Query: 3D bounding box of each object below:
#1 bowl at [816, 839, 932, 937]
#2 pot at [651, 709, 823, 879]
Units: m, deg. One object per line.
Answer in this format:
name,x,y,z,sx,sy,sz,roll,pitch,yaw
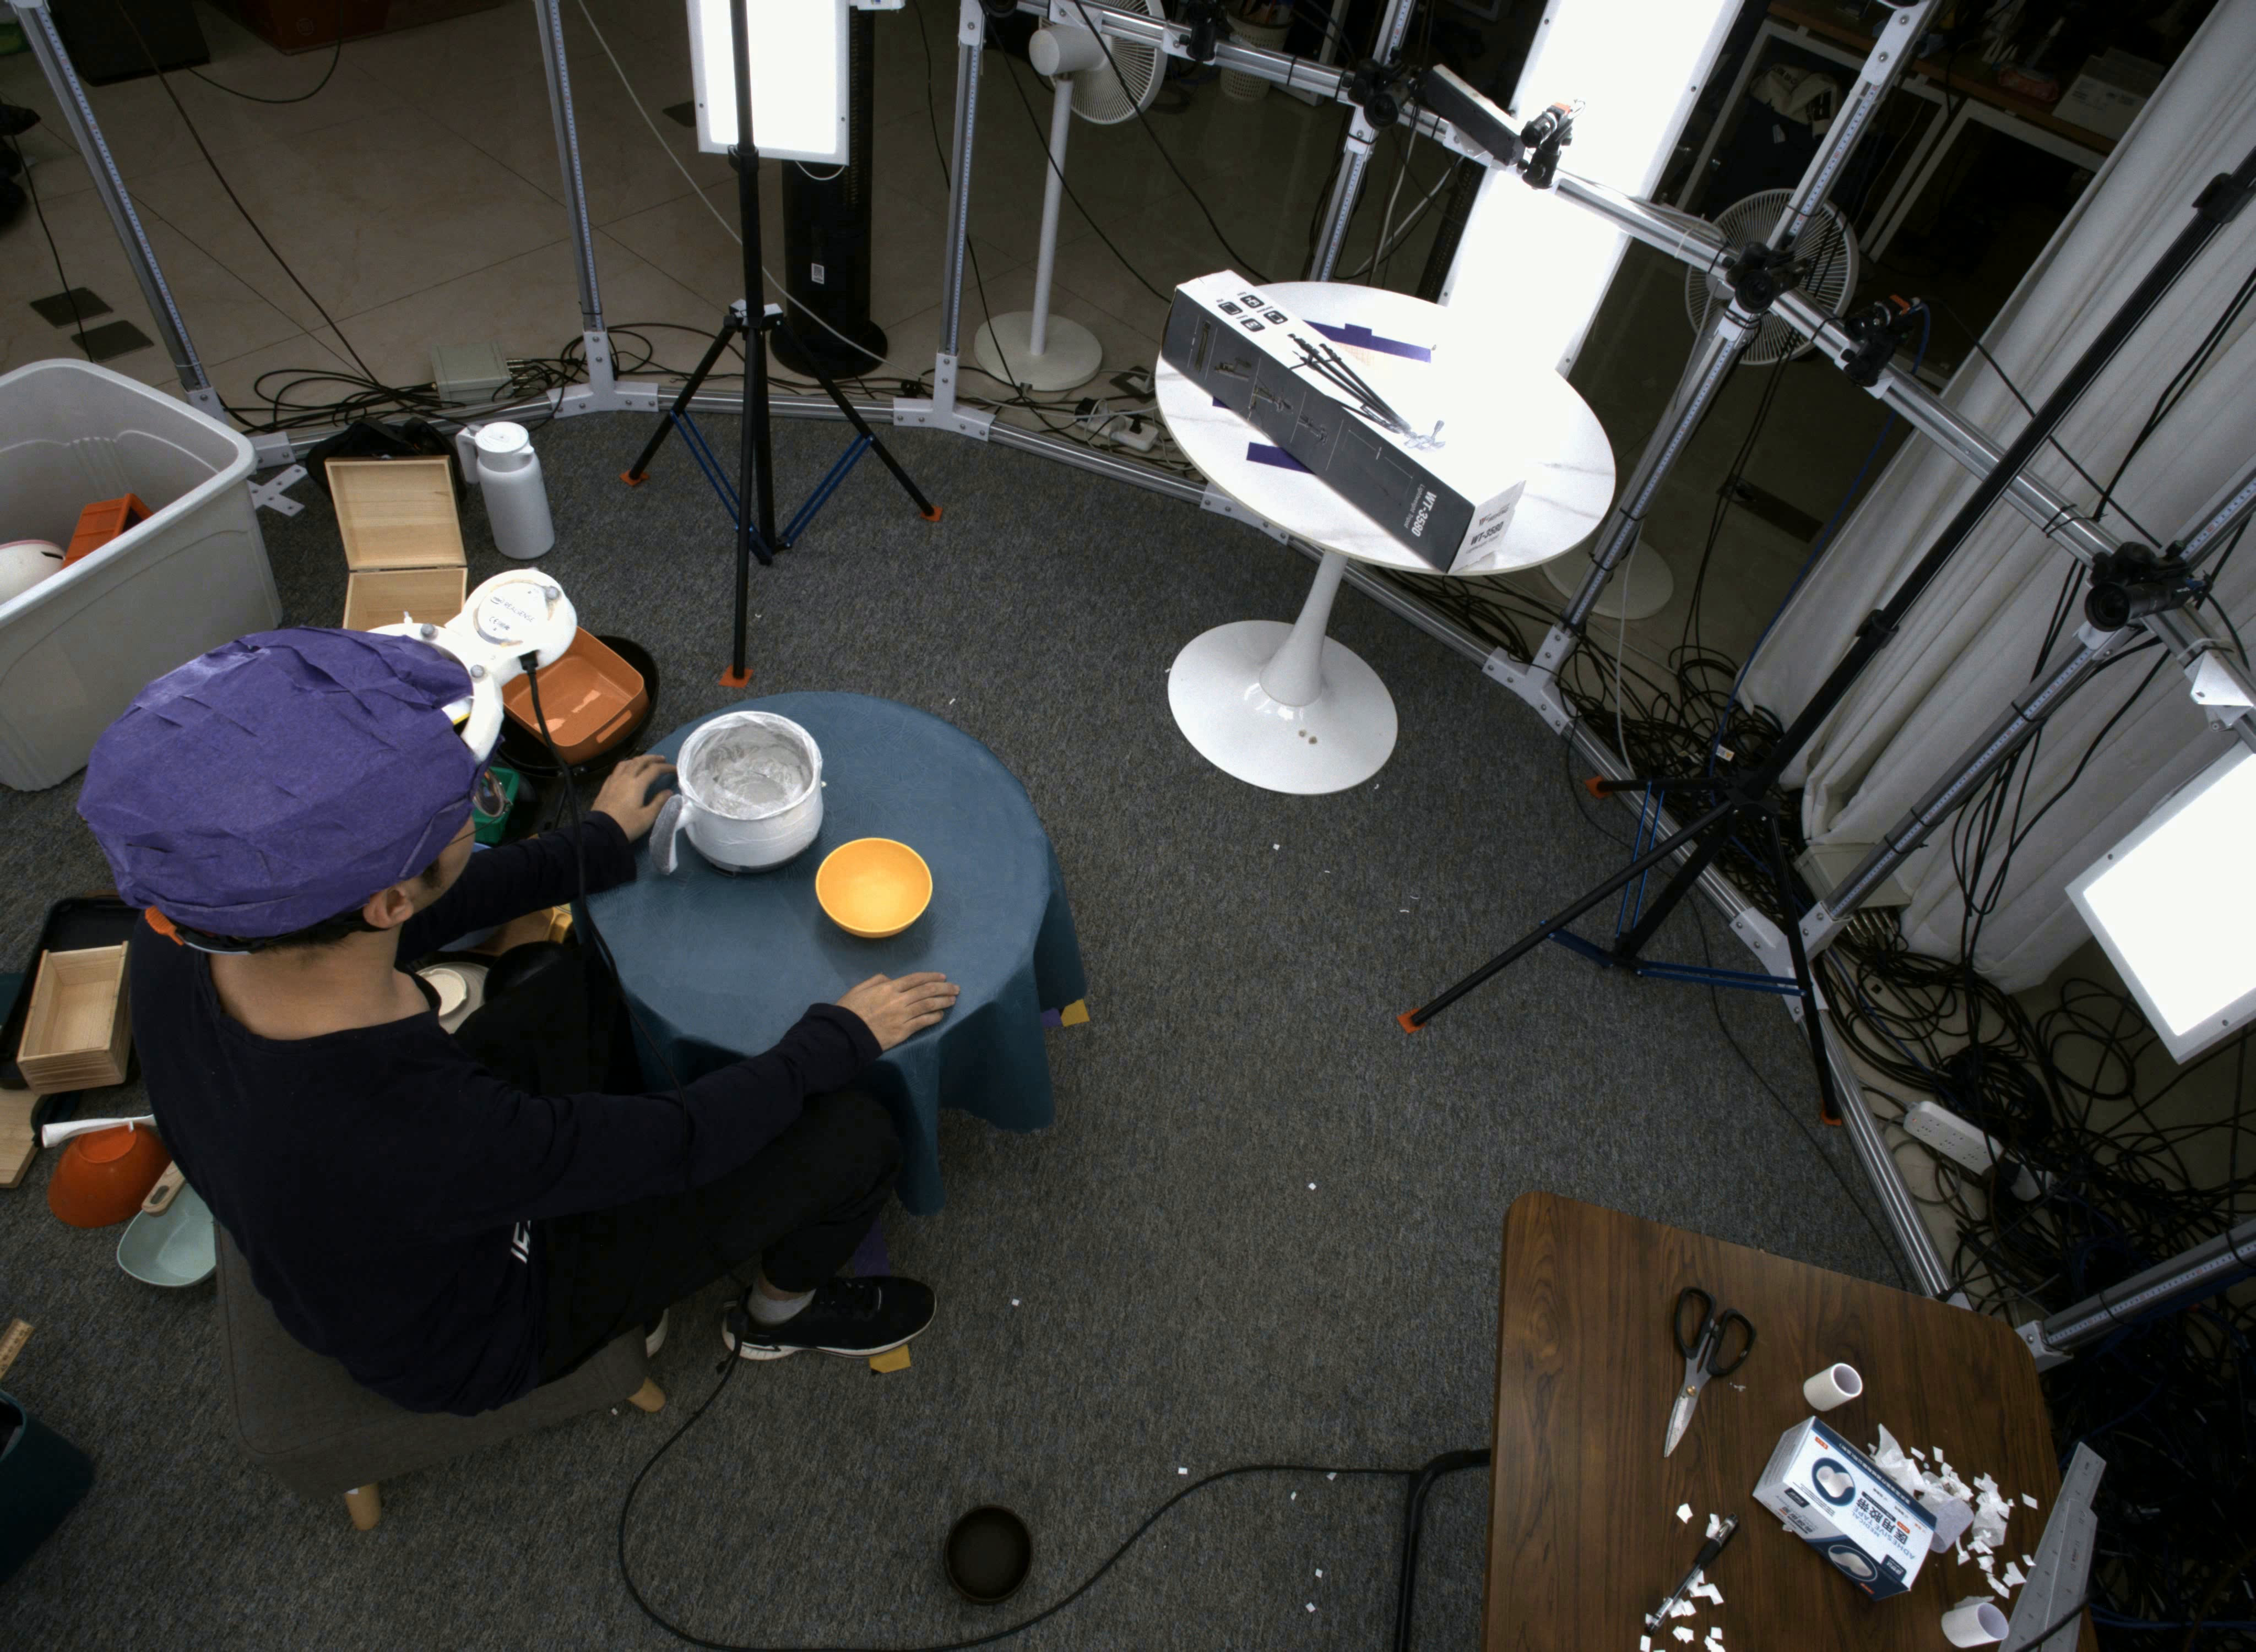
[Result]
bowl,-0.323,0.088,1.655,0.145,0.061,0.142,8,50,-8
pot,-0.504,-0.027,1.649,0.234,0.139,0.174,-34,67,-30
